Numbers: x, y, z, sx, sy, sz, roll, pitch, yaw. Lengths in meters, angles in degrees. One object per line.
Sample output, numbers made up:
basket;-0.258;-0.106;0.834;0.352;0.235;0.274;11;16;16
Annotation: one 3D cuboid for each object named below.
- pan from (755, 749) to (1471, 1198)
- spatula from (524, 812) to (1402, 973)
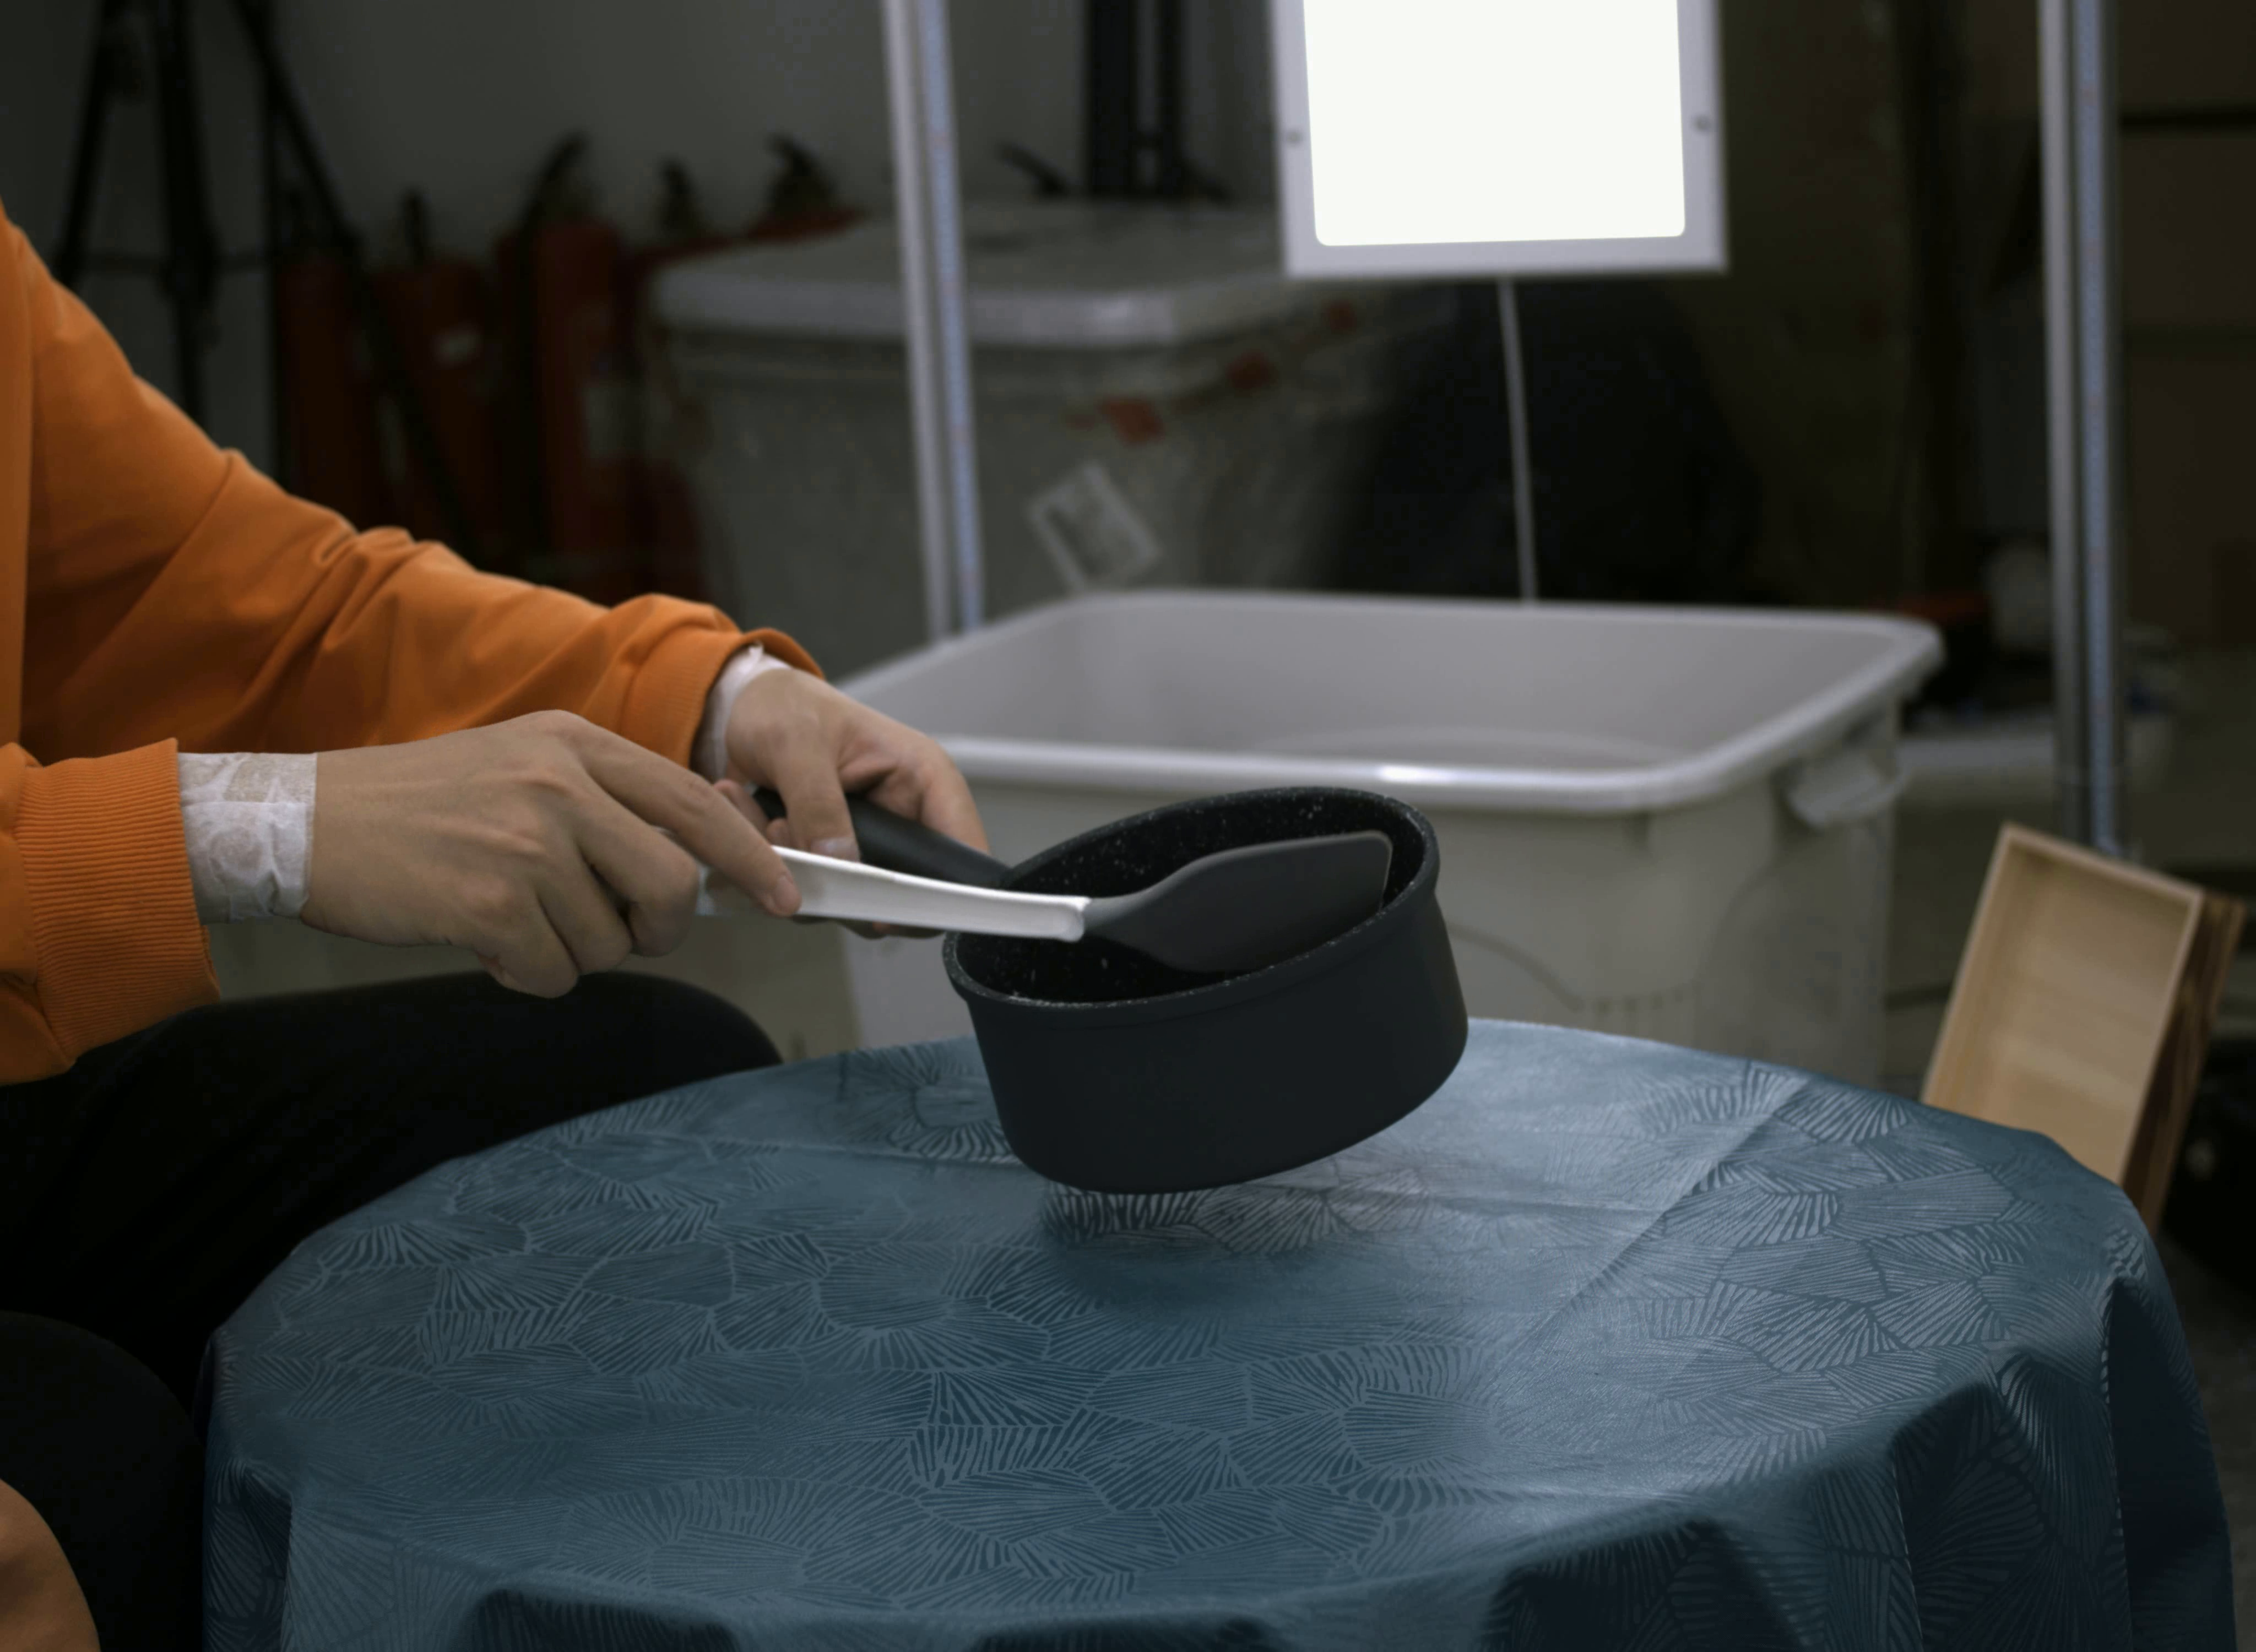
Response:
pan;-0.020;0.041;1.920;0.168;0.086;0.335;-27;25;-31
spatula;-0.052;0.021;1.789;0.285;0.059;0.032;3;34;-8
